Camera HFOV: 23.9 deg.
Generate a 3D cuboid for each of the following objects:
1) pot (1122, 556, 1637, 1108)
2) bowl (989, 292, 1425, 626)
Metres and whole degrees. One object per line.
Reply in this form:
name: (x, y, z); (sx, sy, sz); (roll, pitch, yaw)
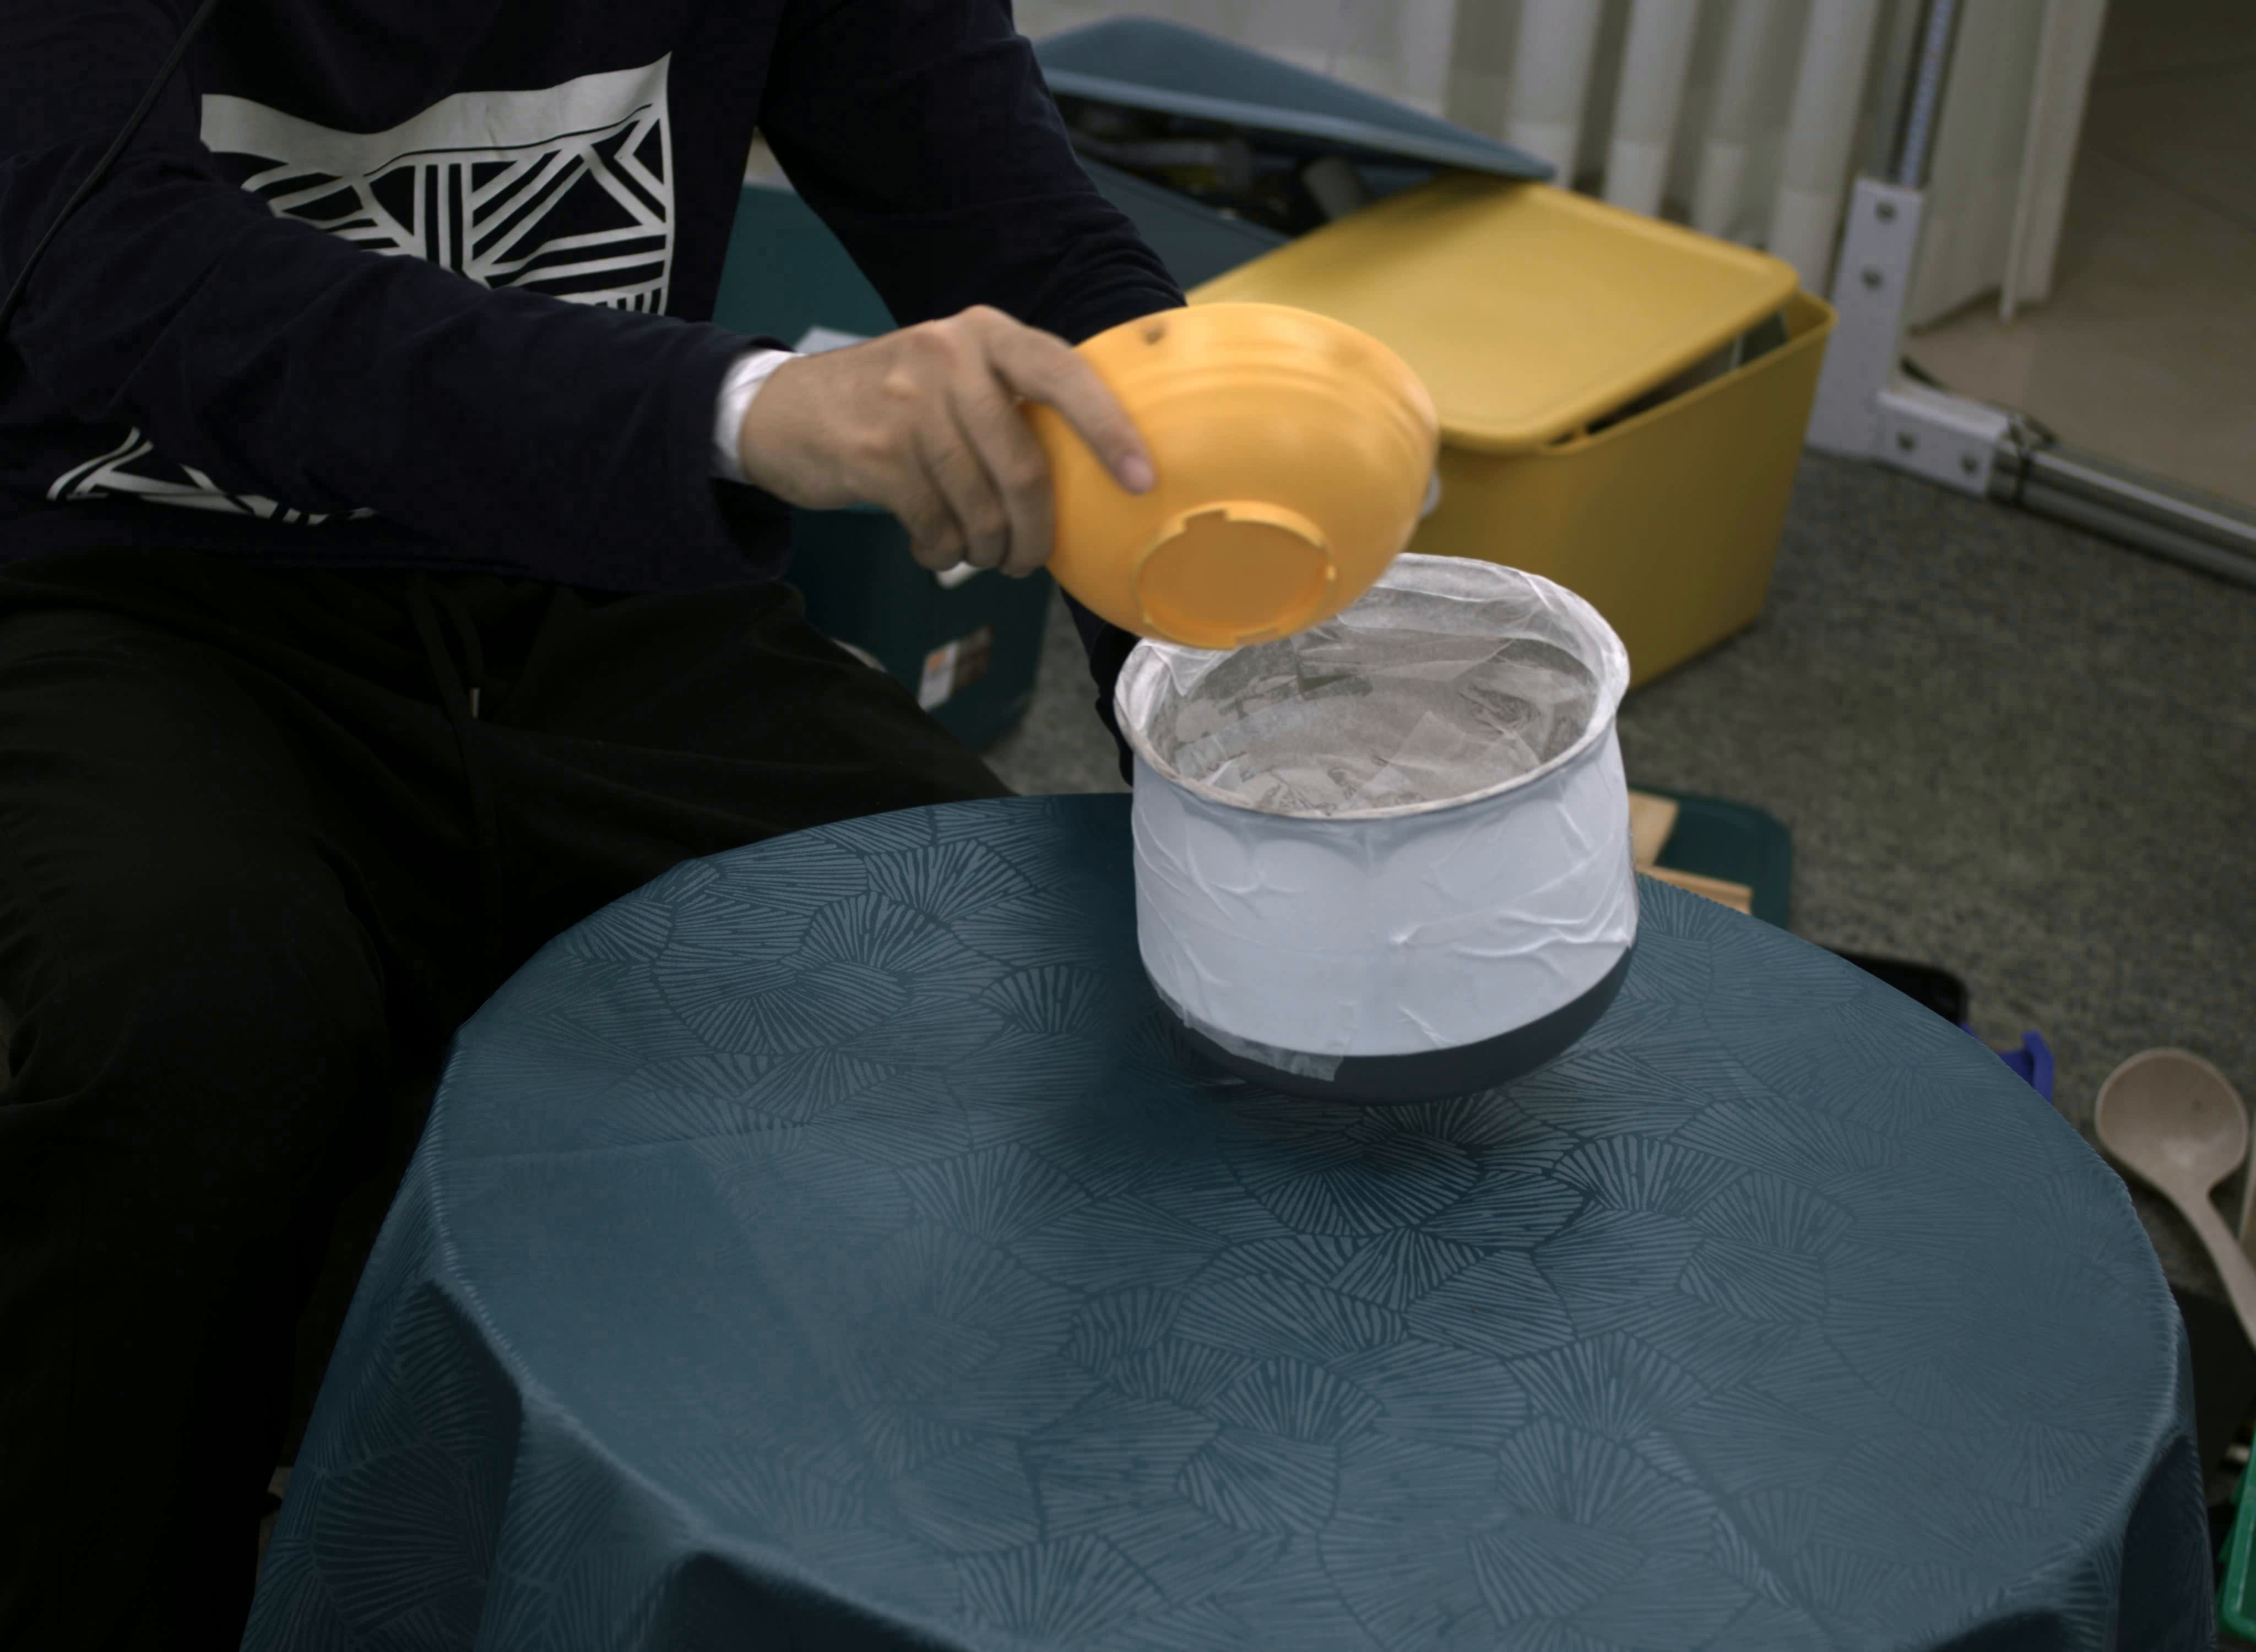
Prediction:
pot: (0.079, -0.009, 1.879); (0.178, 0.136, 0.236); (-13, 32, -16)
bowl: (0.026, -0.107, 1.739); (0.145, 0.144, 0.060); (4, 57, -6)
